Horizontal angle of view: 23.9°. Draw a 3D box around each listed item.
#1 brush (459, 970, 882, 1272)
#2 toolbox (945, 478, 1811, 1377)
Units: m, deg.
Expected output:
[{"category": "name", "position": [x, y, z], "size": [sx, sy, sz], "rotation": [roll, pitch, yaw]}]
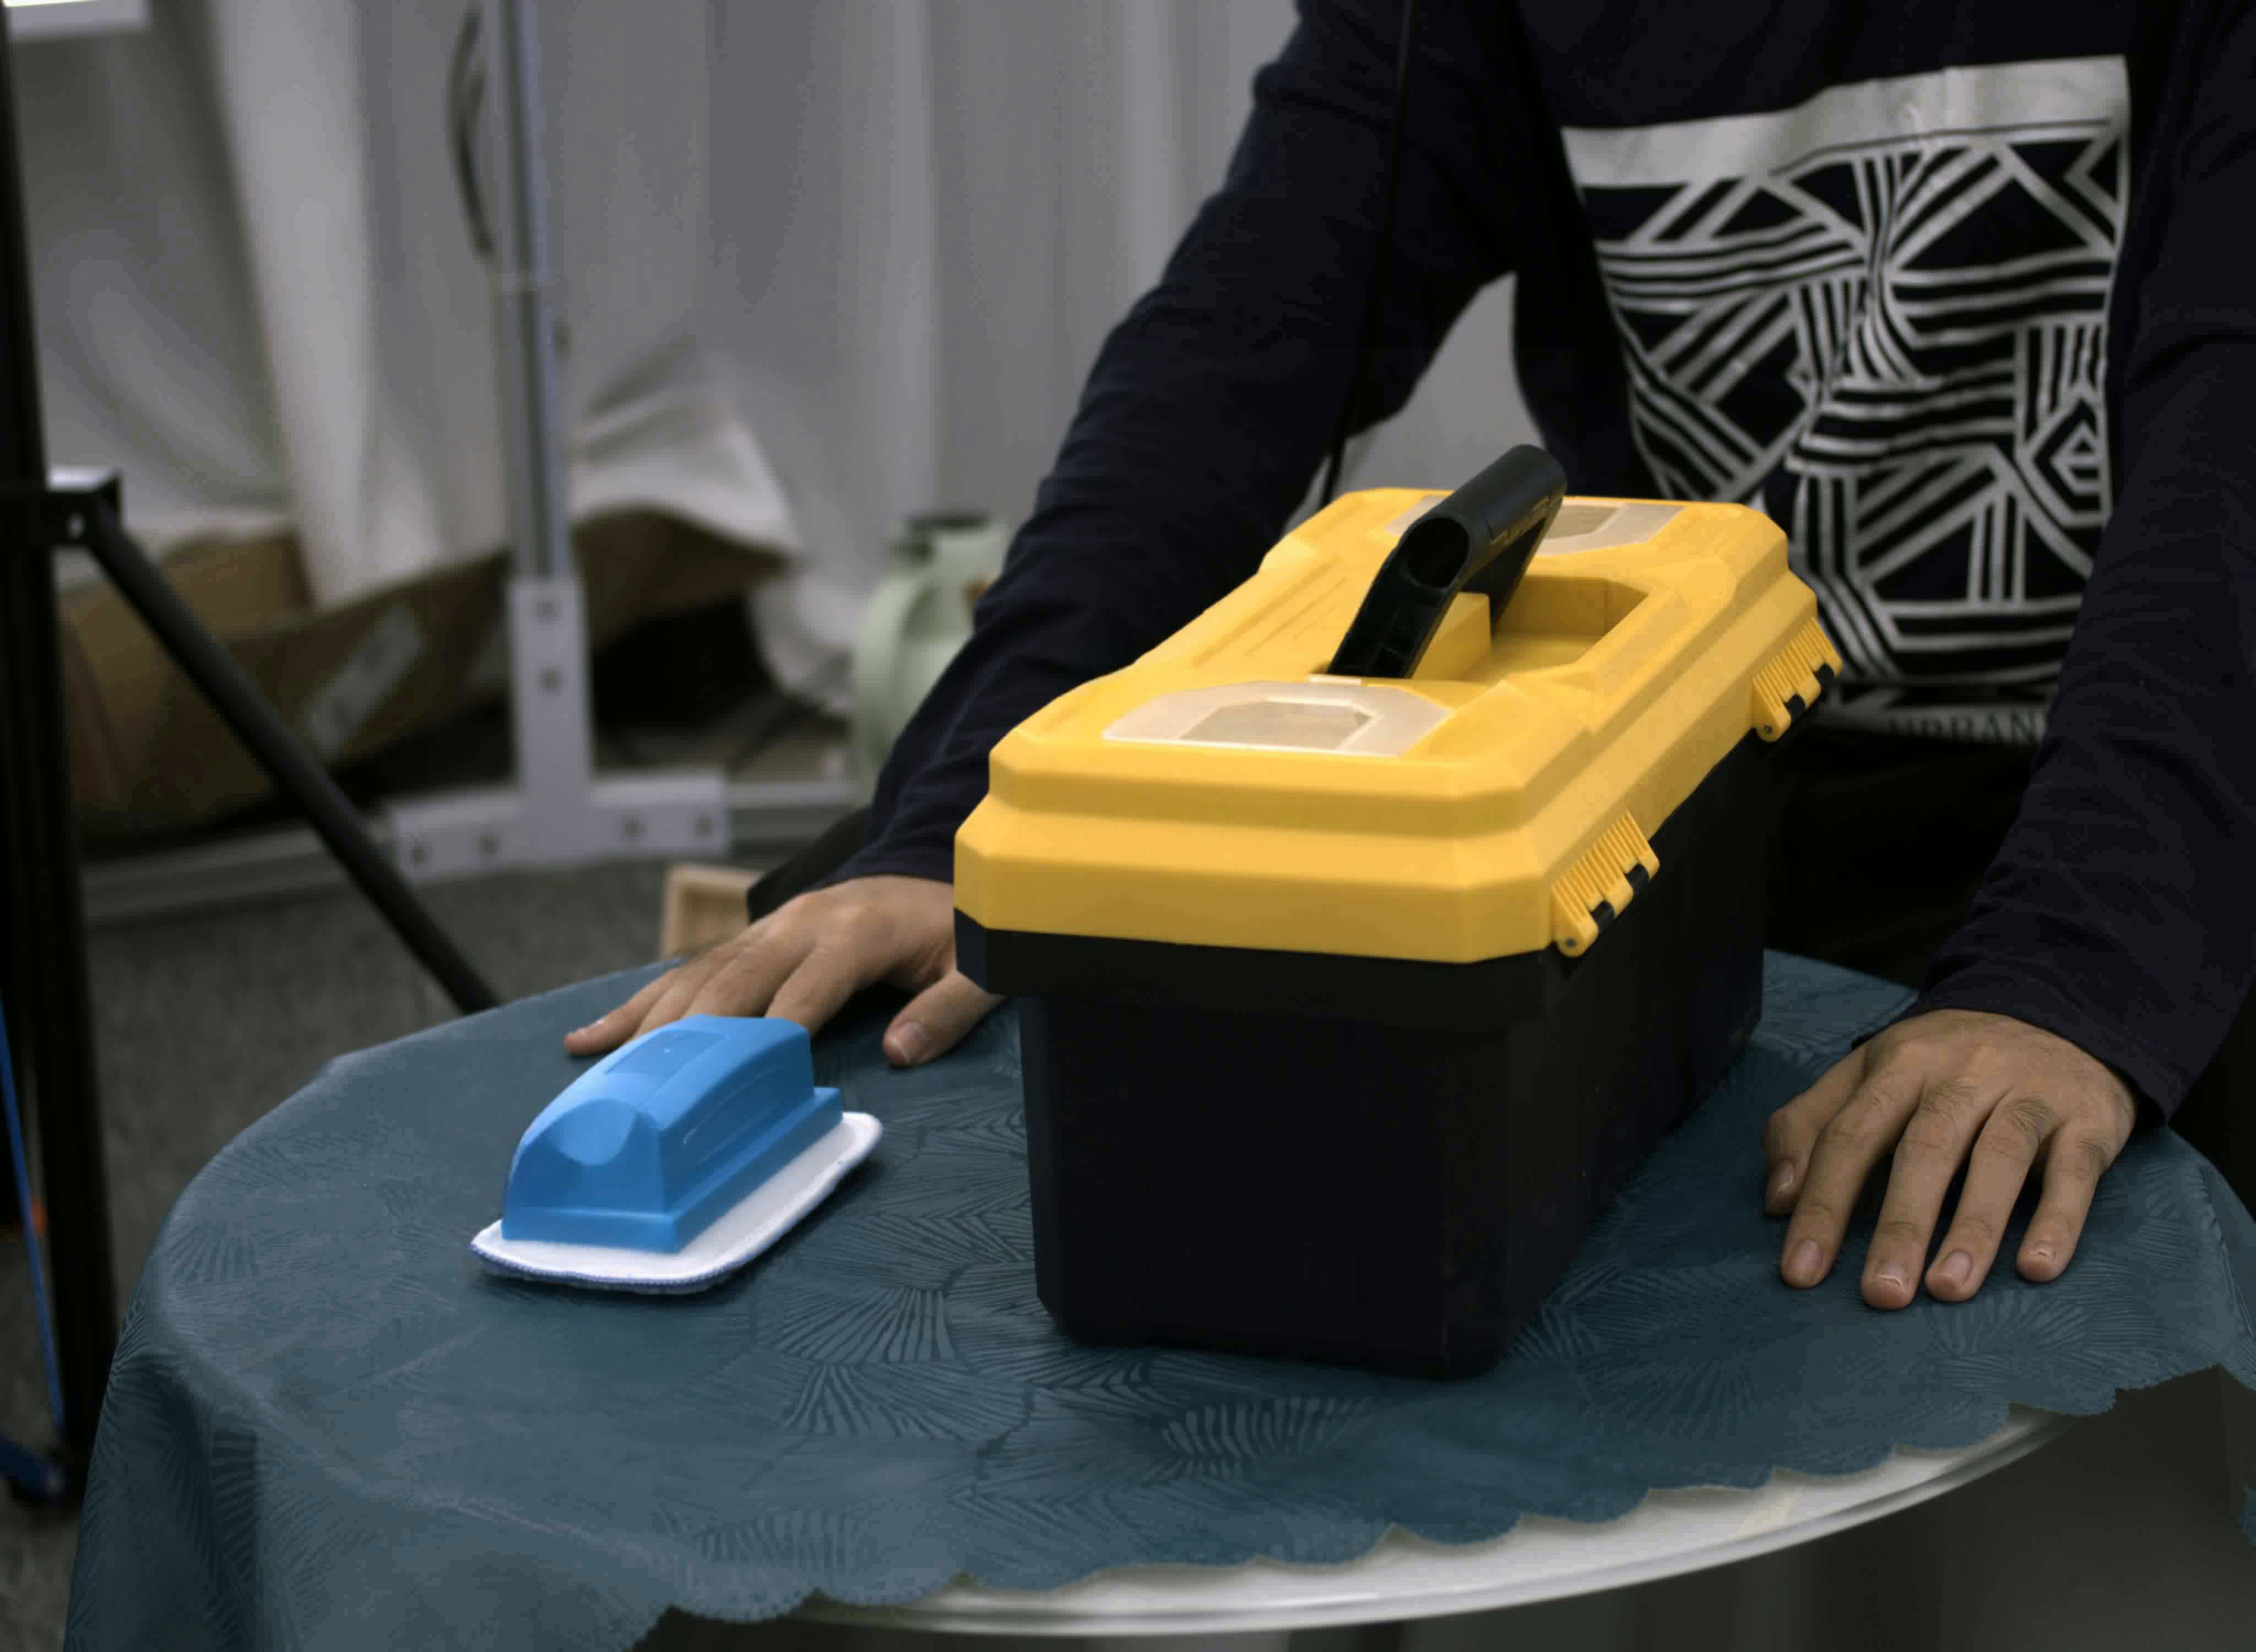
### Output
[{"category": "brush", "position": [-0.132, 0.082, 1.558], "size": [0.085, 0.056, 0.142], "rotation": [8, 21, 21]}, {"category": "toolbox", "position": [0.083, 0.020, 1.540], "size": [0.183, 0.173, 0.347], "rotation": [4, 17, 20]}]
